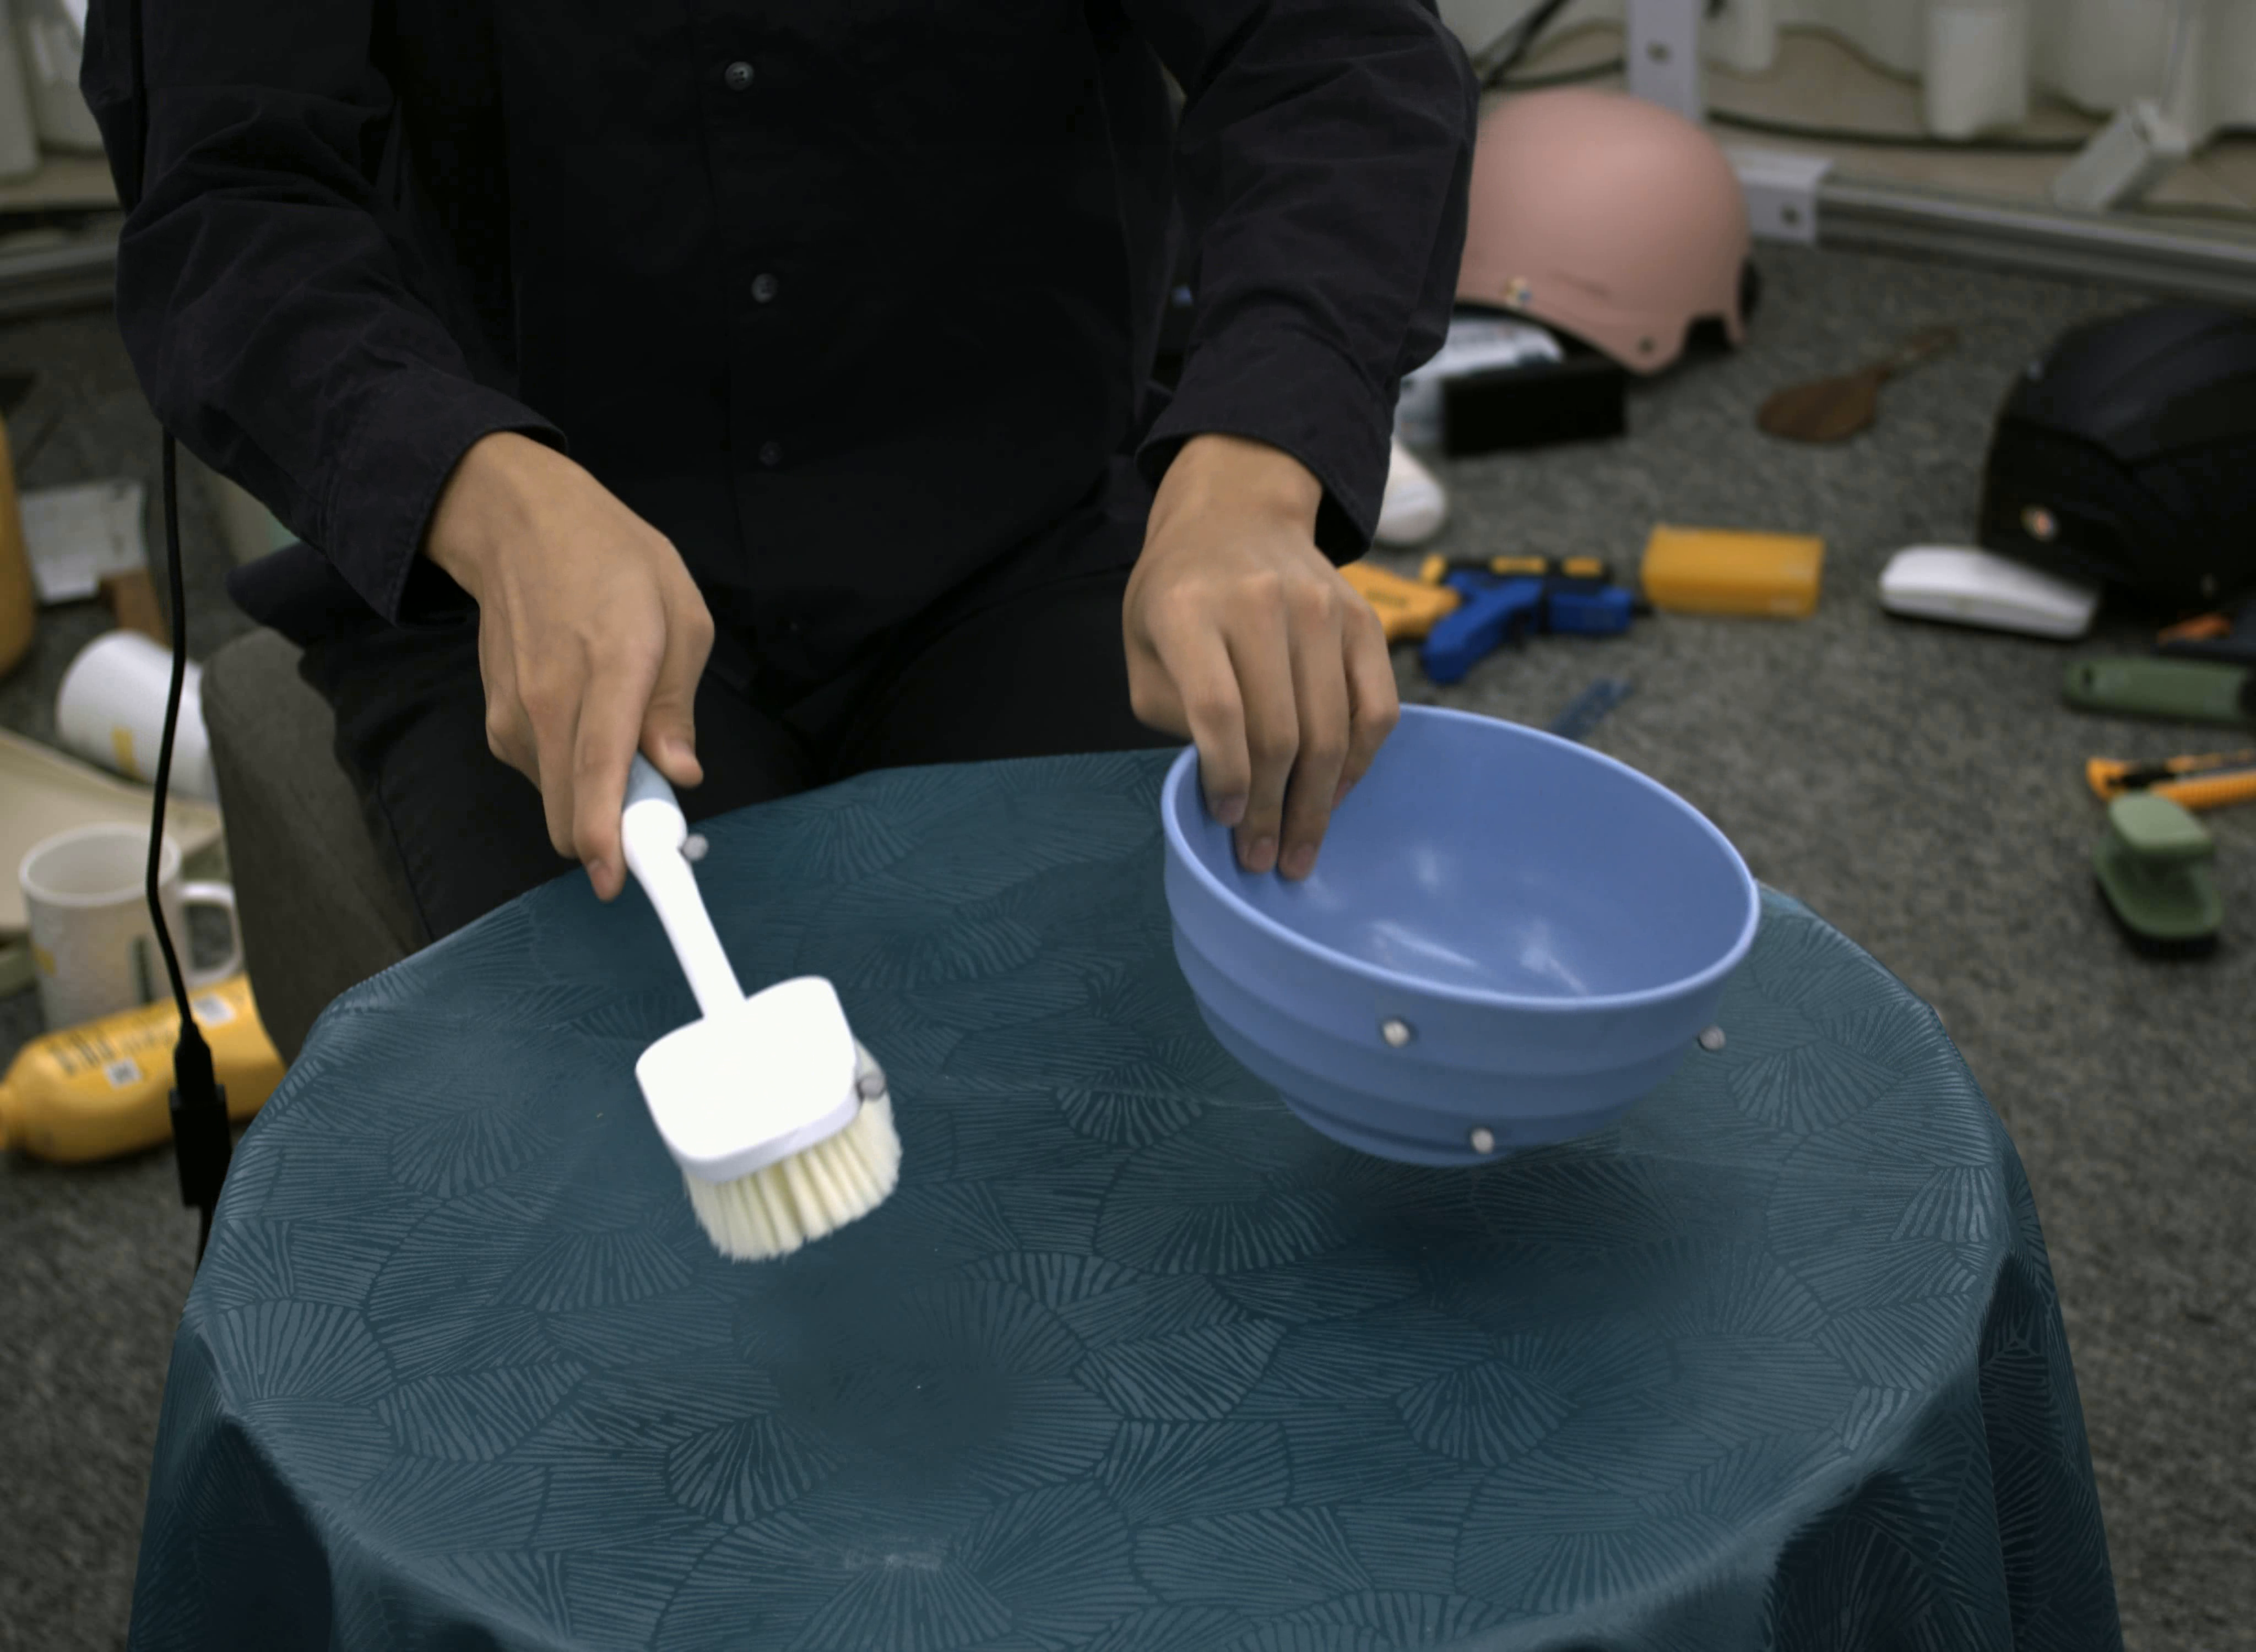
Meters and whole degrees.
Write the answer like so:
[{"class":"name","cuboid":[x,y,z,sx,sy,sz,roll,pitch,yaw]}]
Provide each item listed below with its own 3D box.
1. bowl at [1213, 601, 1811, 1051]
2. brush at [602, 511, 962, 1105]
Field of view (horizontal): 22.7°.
[{"class":"bowl","cuboid":[0.117,0.010,1.837,0.196,0.094,0.199,9,25,-4]},{"class":"brush","cuboid":[-0.113,0.001,1.825,0.083,0.083,0.329,9,25,-22]}]
